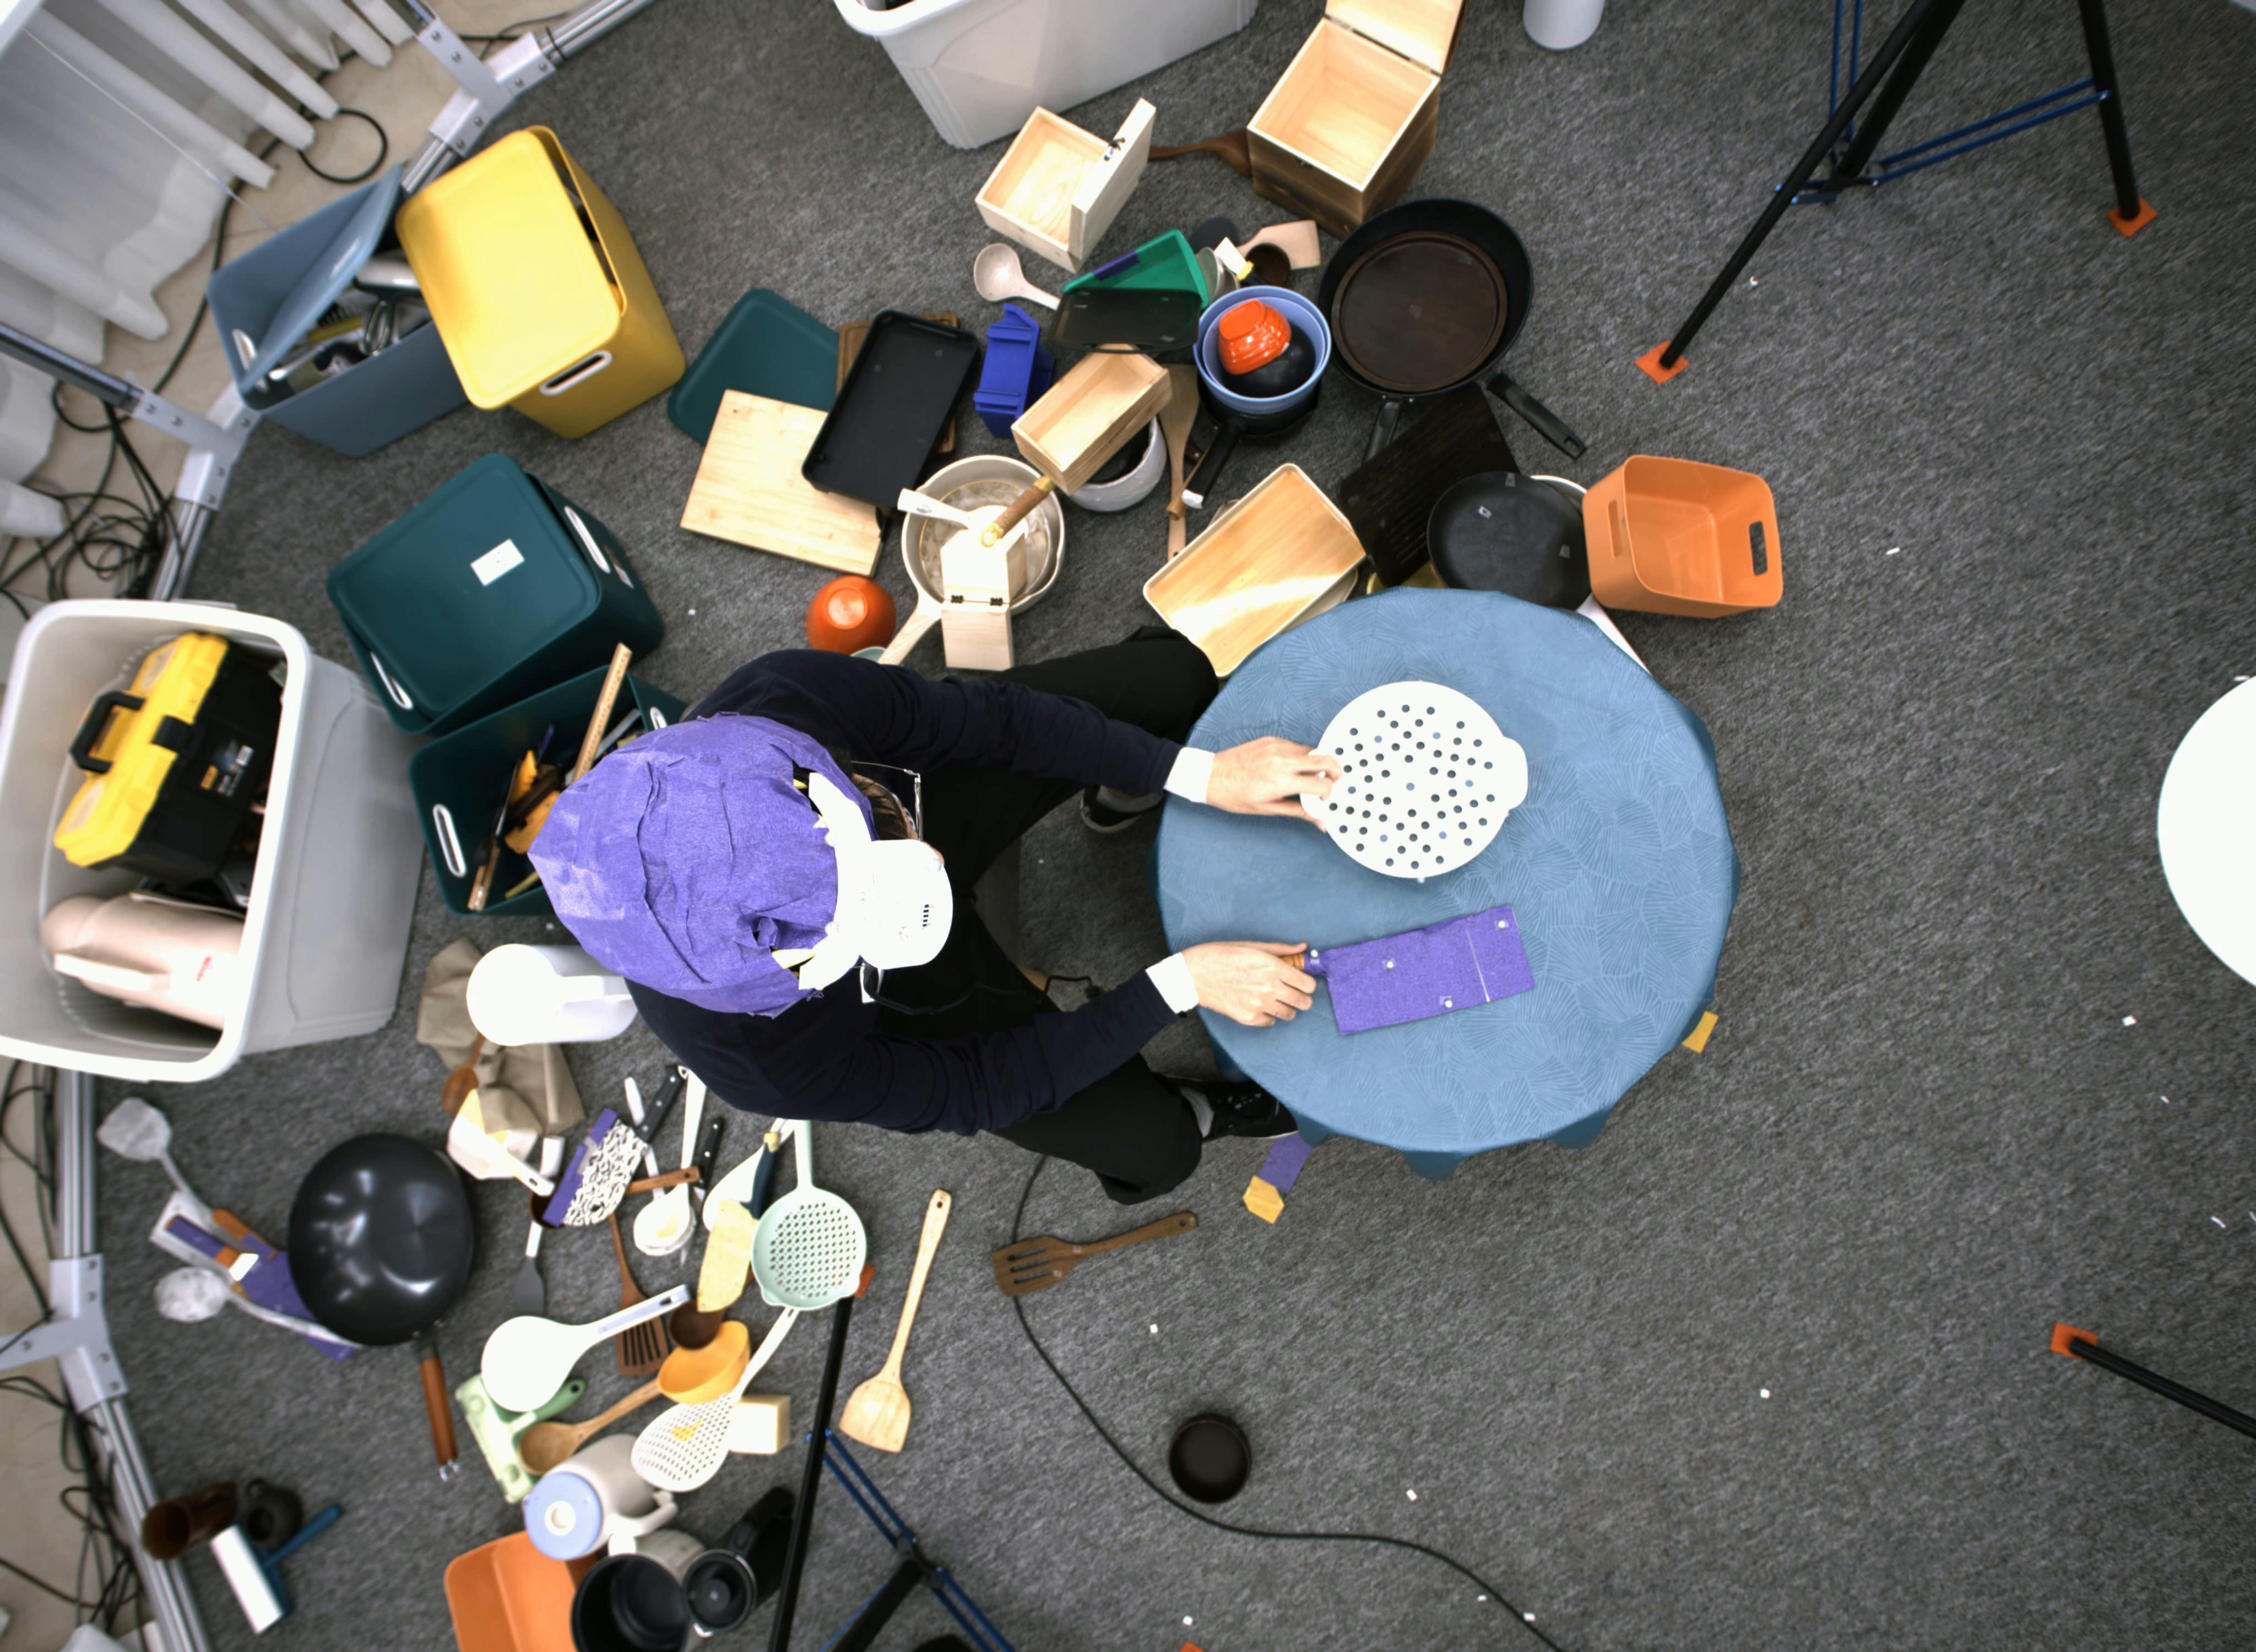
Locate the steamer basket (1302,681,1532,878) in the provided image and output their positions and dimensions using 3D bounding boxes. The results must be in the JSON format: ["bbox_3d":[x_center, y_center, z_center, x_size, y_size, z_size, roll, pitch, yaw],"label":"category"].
[{"bbox_3d":[0.299,-0.047,1.428,0.232,0.069,0.201,-5,85,13],"label":"steamer basket"}]

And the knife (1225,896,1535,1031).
[{"bbox_3d":[0.262,0.159,1.443,0.317,0.032,0.103,-15,84,9],"label":"knife"}]
